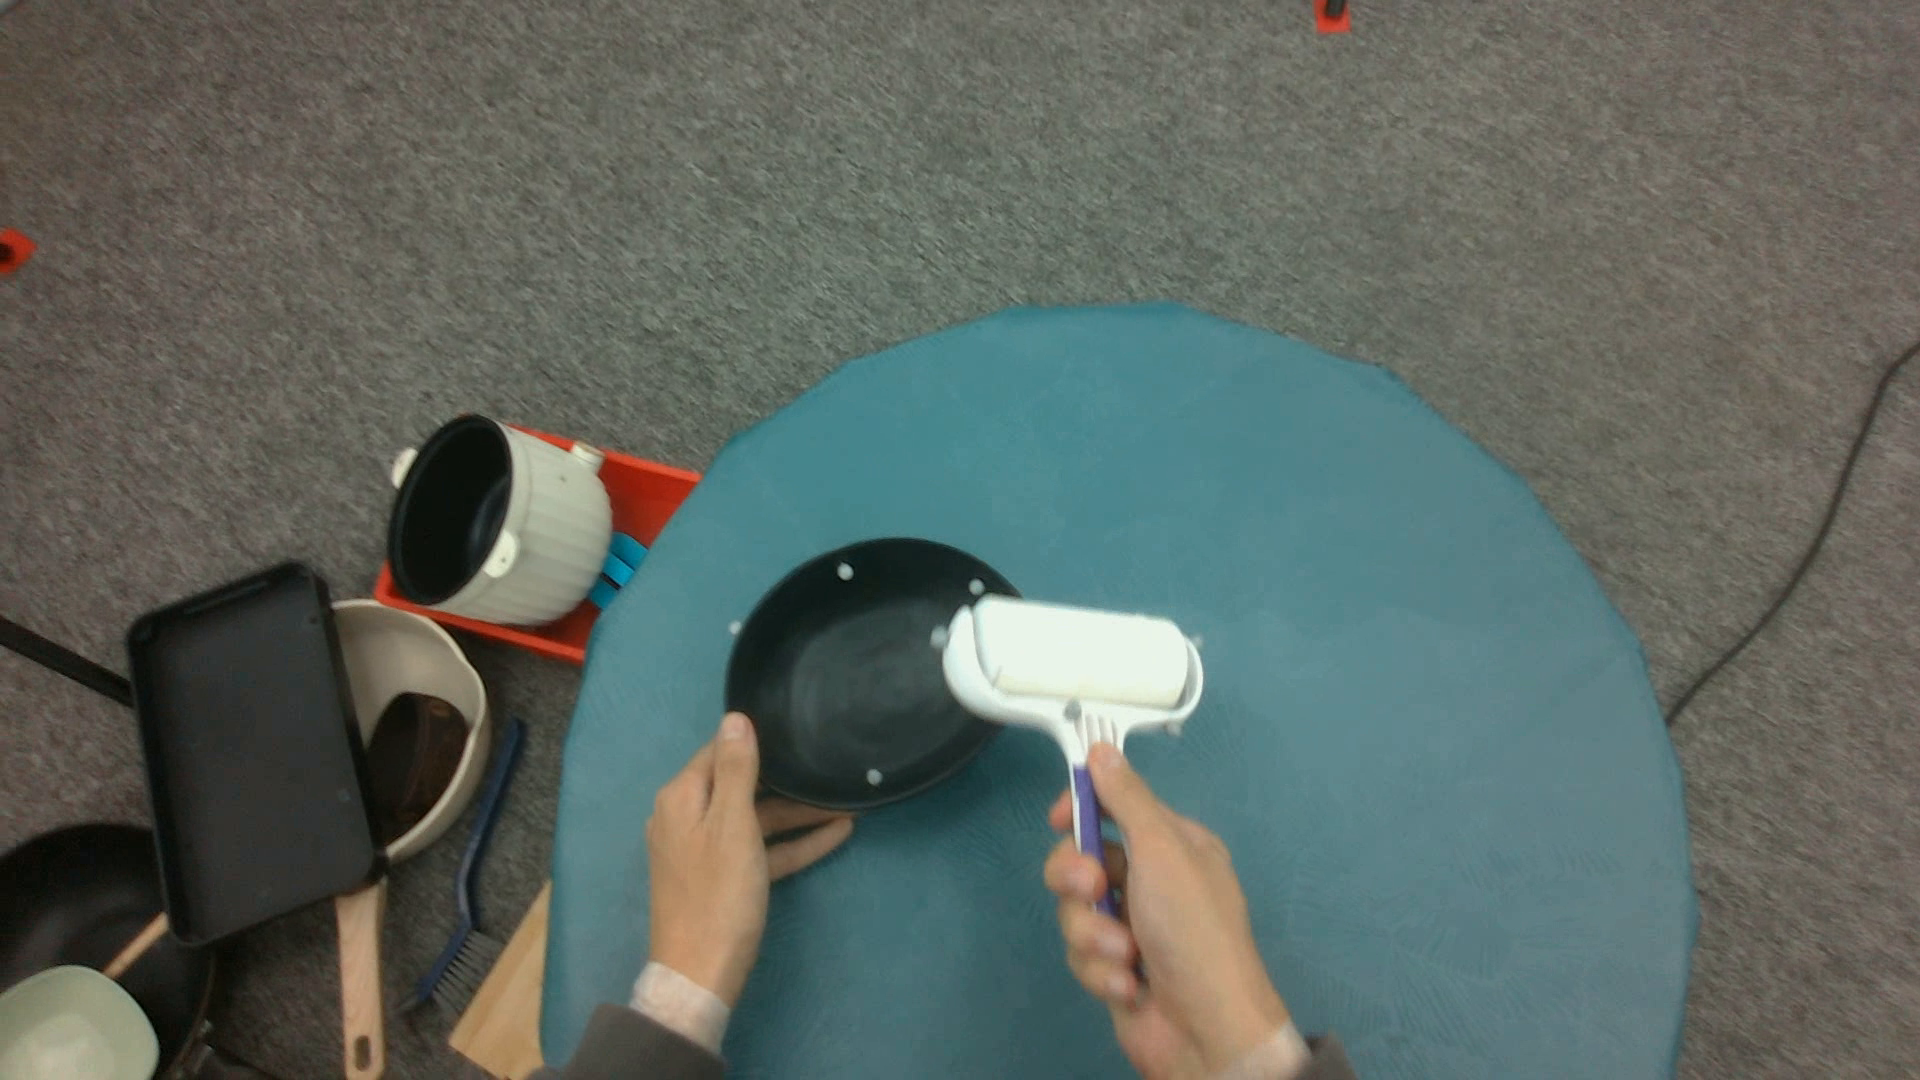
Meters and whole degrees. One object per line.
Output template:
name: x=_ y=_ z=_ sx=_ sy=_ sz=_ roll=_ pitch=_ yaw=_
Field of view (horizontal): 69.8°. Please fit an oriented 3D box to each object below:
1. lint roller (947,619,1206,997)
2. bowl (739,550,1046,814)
lint roller: x=0.069 y=0.113 z=0.626 sx=0.133 sy=0.050 sz=0.181 roll=8 pitch=44 yaw=-23
bowl: x=-0.034 y=0.080 z=0.746 sx=0.170 sy=0.066 sz=0.137 roll=-26 pitch=69 yaw=-8
